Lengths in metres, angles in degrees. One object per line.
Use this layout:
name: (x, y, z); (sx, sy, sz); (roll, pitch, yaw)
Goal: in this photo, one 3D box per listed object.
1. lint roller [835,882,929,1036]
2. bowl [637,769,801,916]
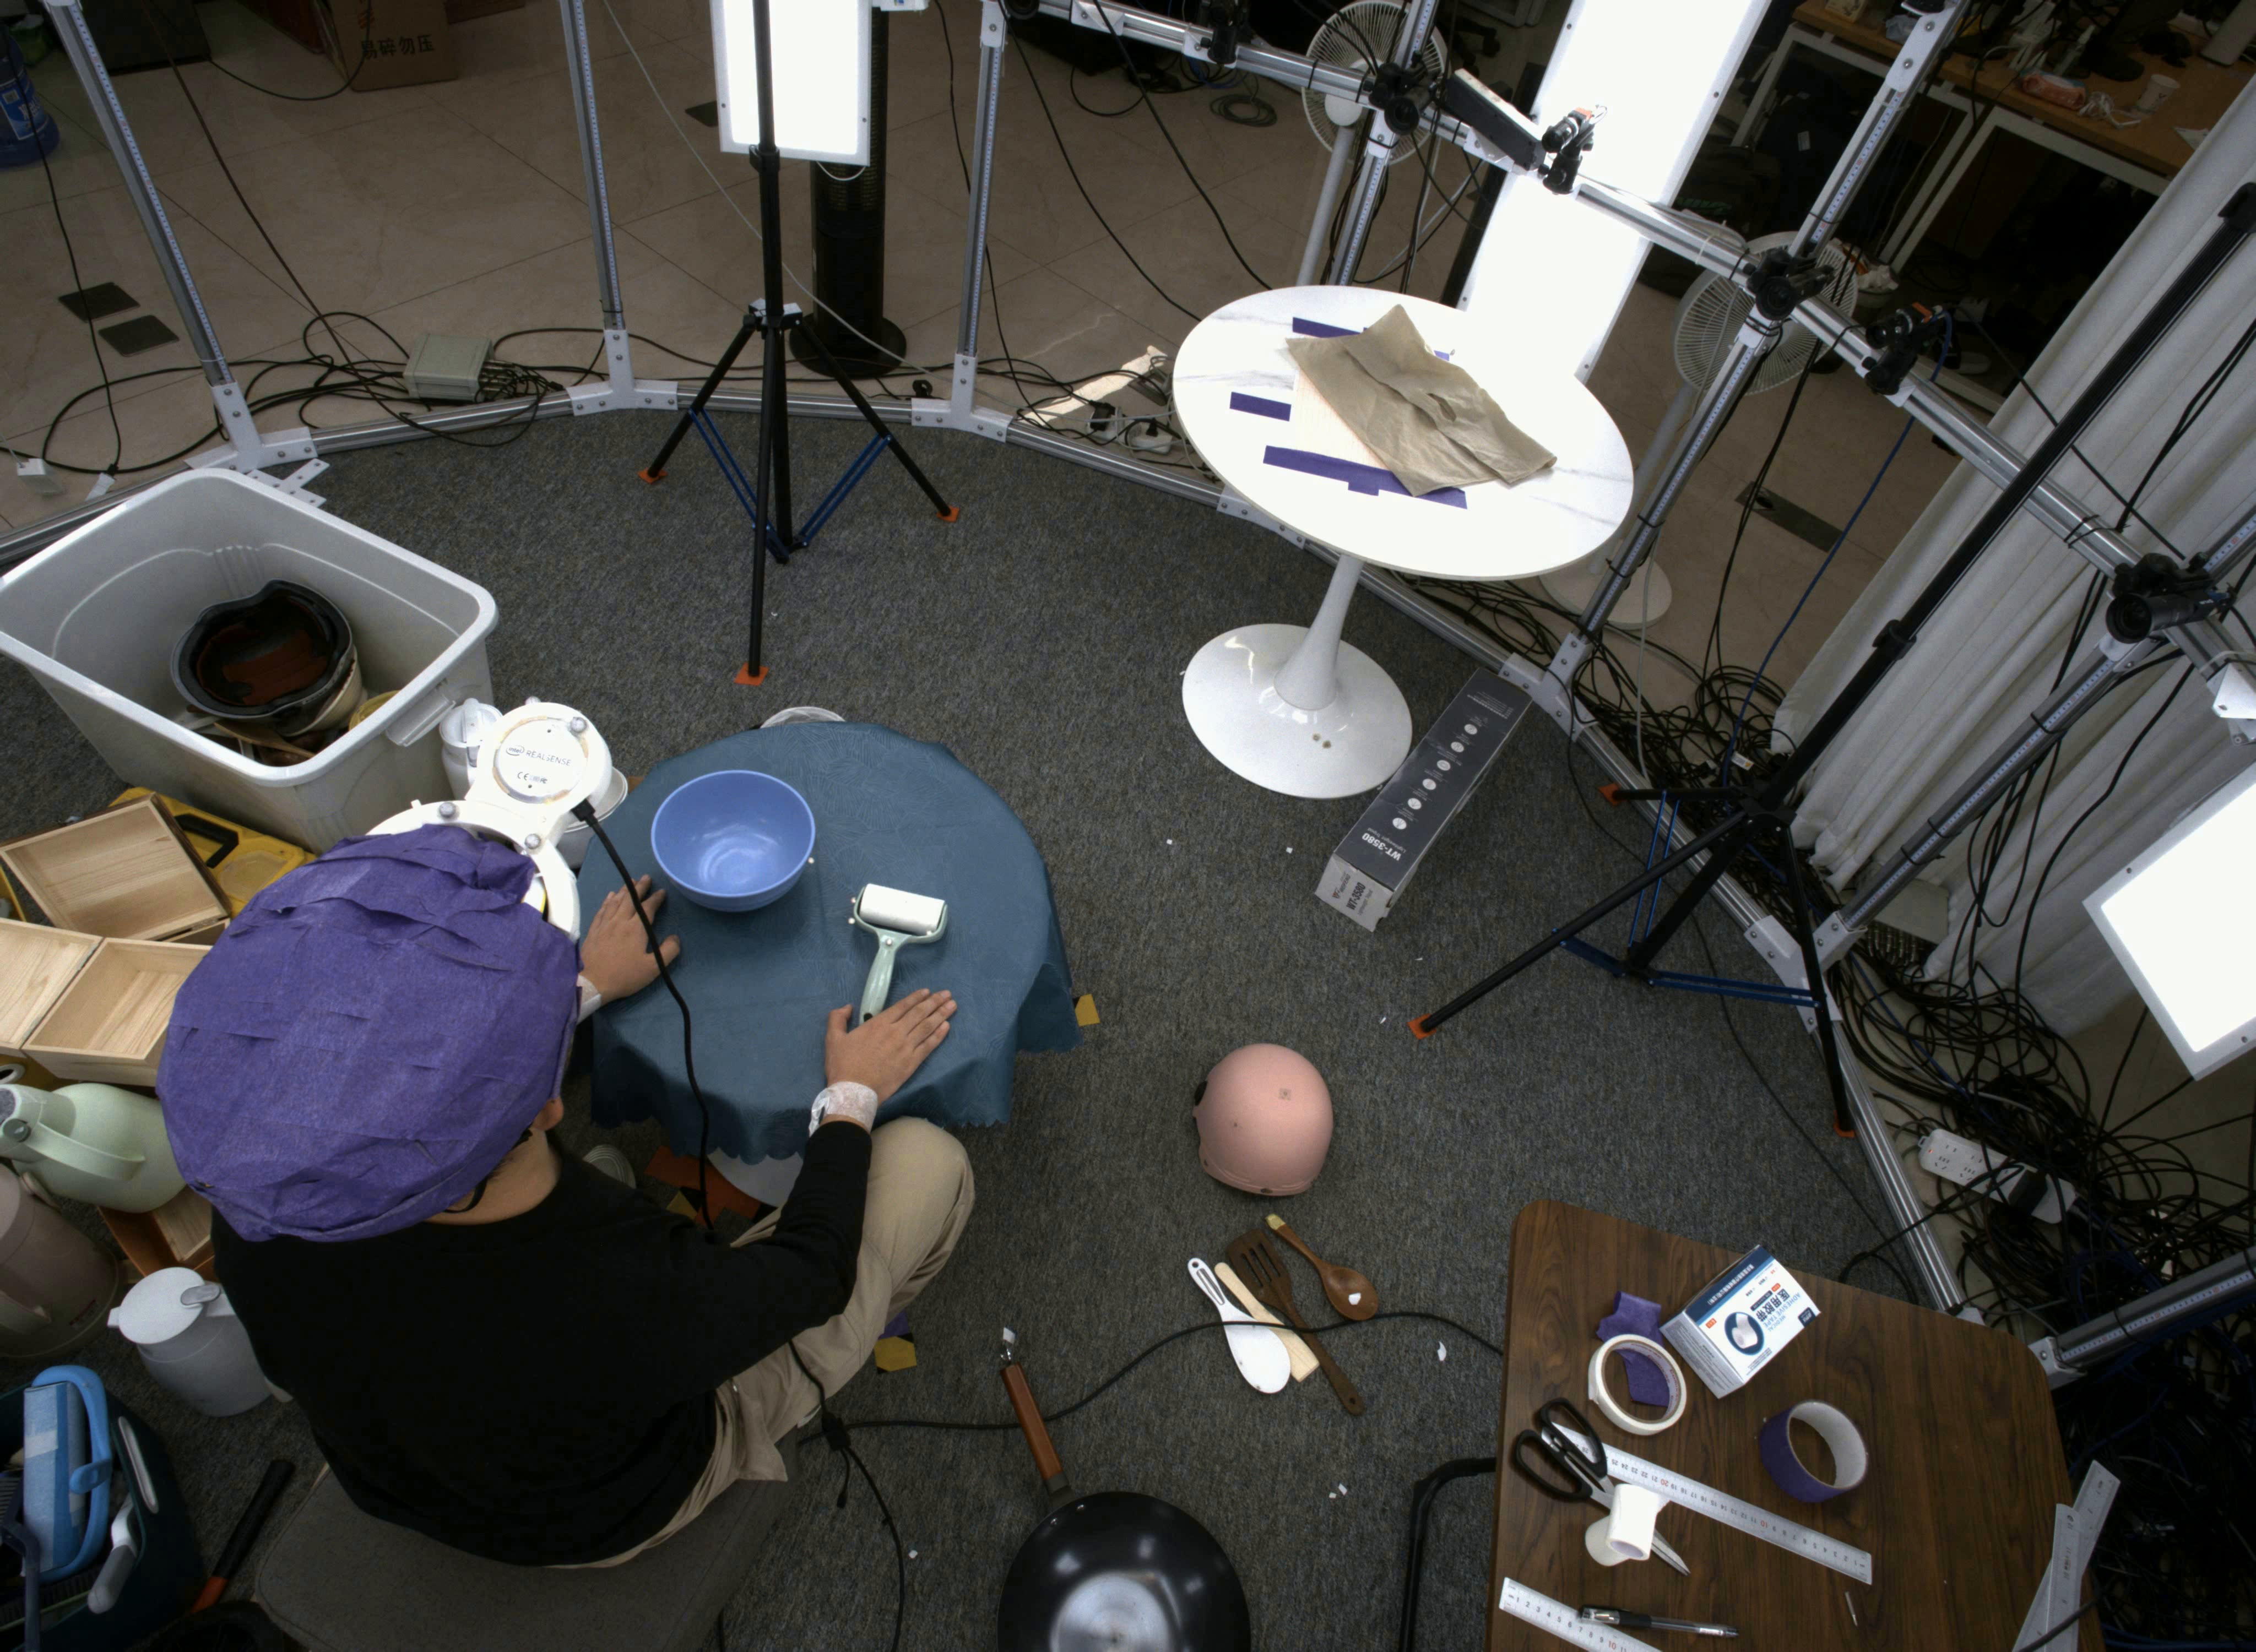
lint roller: (-0.317, 0.160, 1.599); (0.116, 0.049, 0.195); (13, 54, -6)
bowl: (-0.506, 0.035, 1.609); (0.196, 0.097, 0.193); (8, 52, -9)
